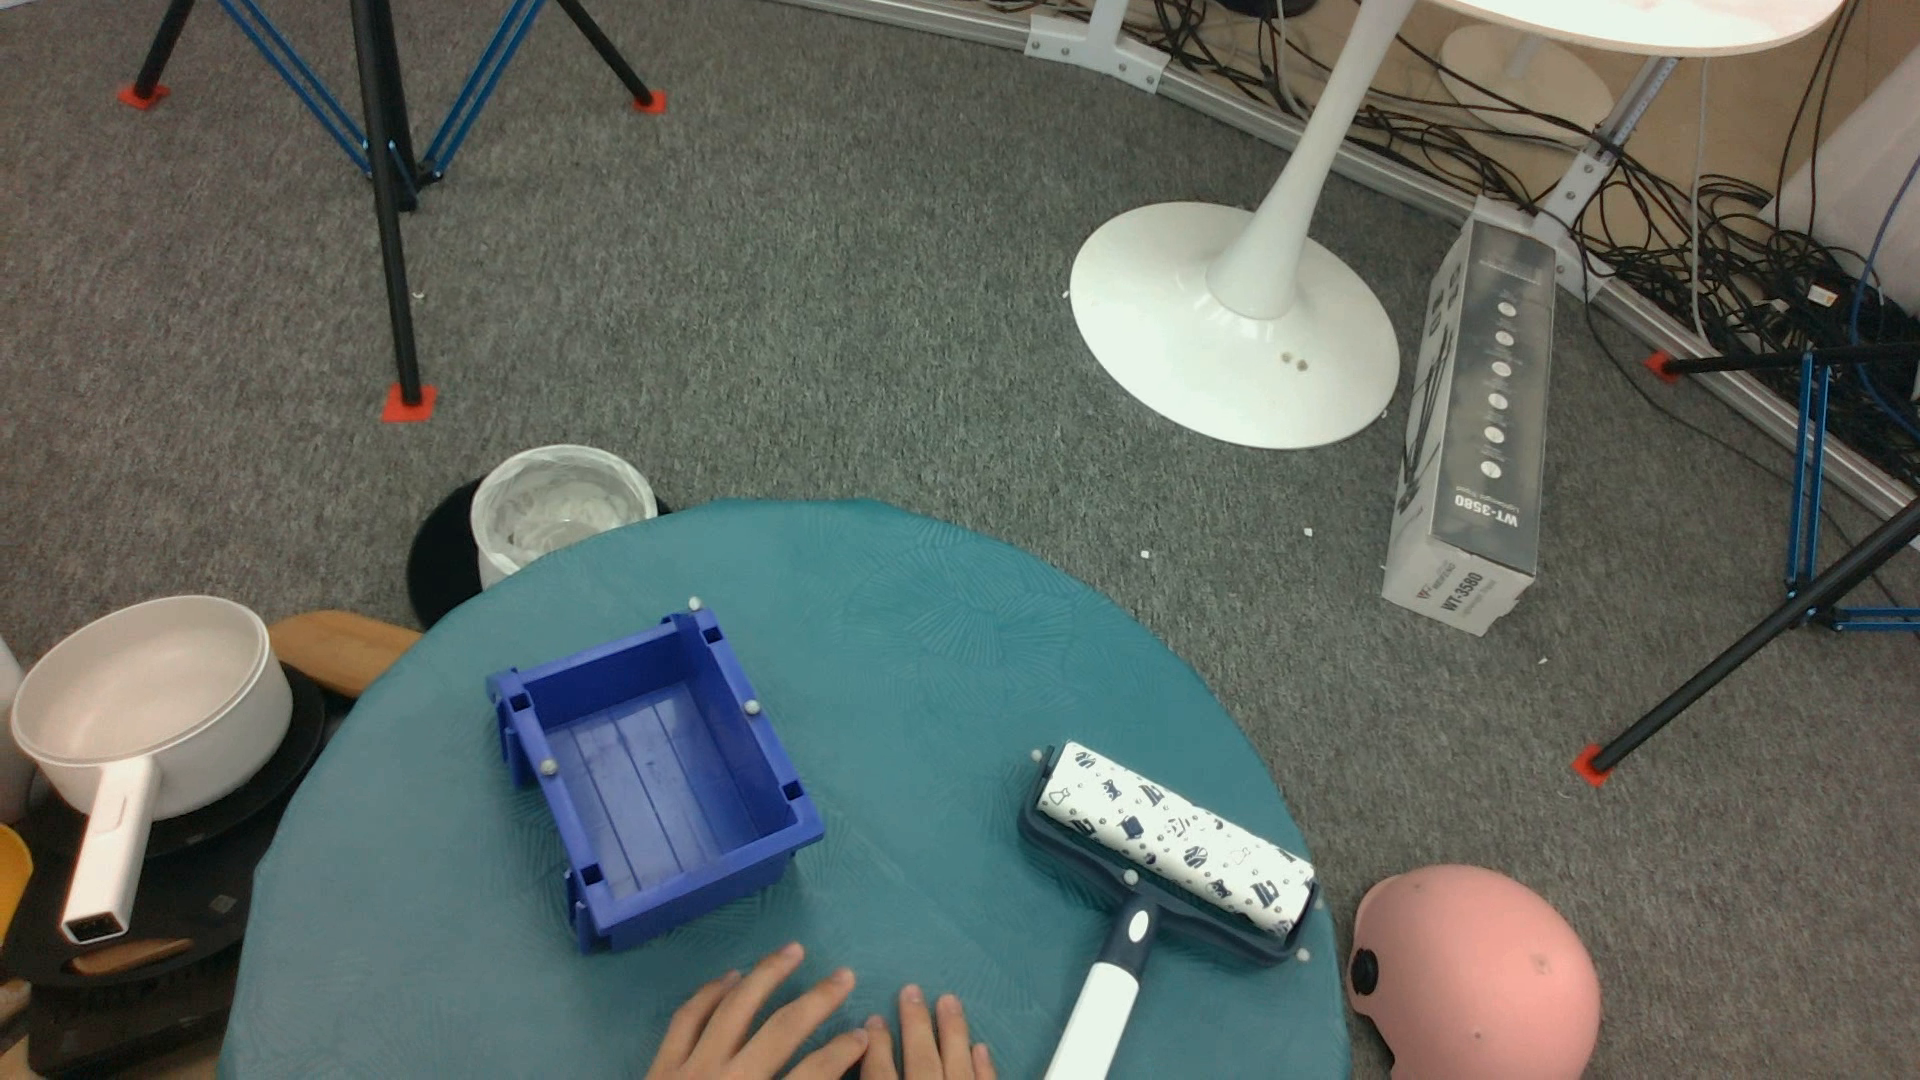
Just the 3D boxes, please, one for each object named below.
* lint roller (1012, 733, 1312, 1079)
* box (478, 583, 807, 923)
[{"bbox_3d":[0.081,0.241,0.753,0.176,0.050,0.248,27,54,5],"label":"lint roller"},{"bbox_3d":[-0.181,0.110,0.757,0.125,0.081,0.180,-18,63,-25],"label":"box"}]
